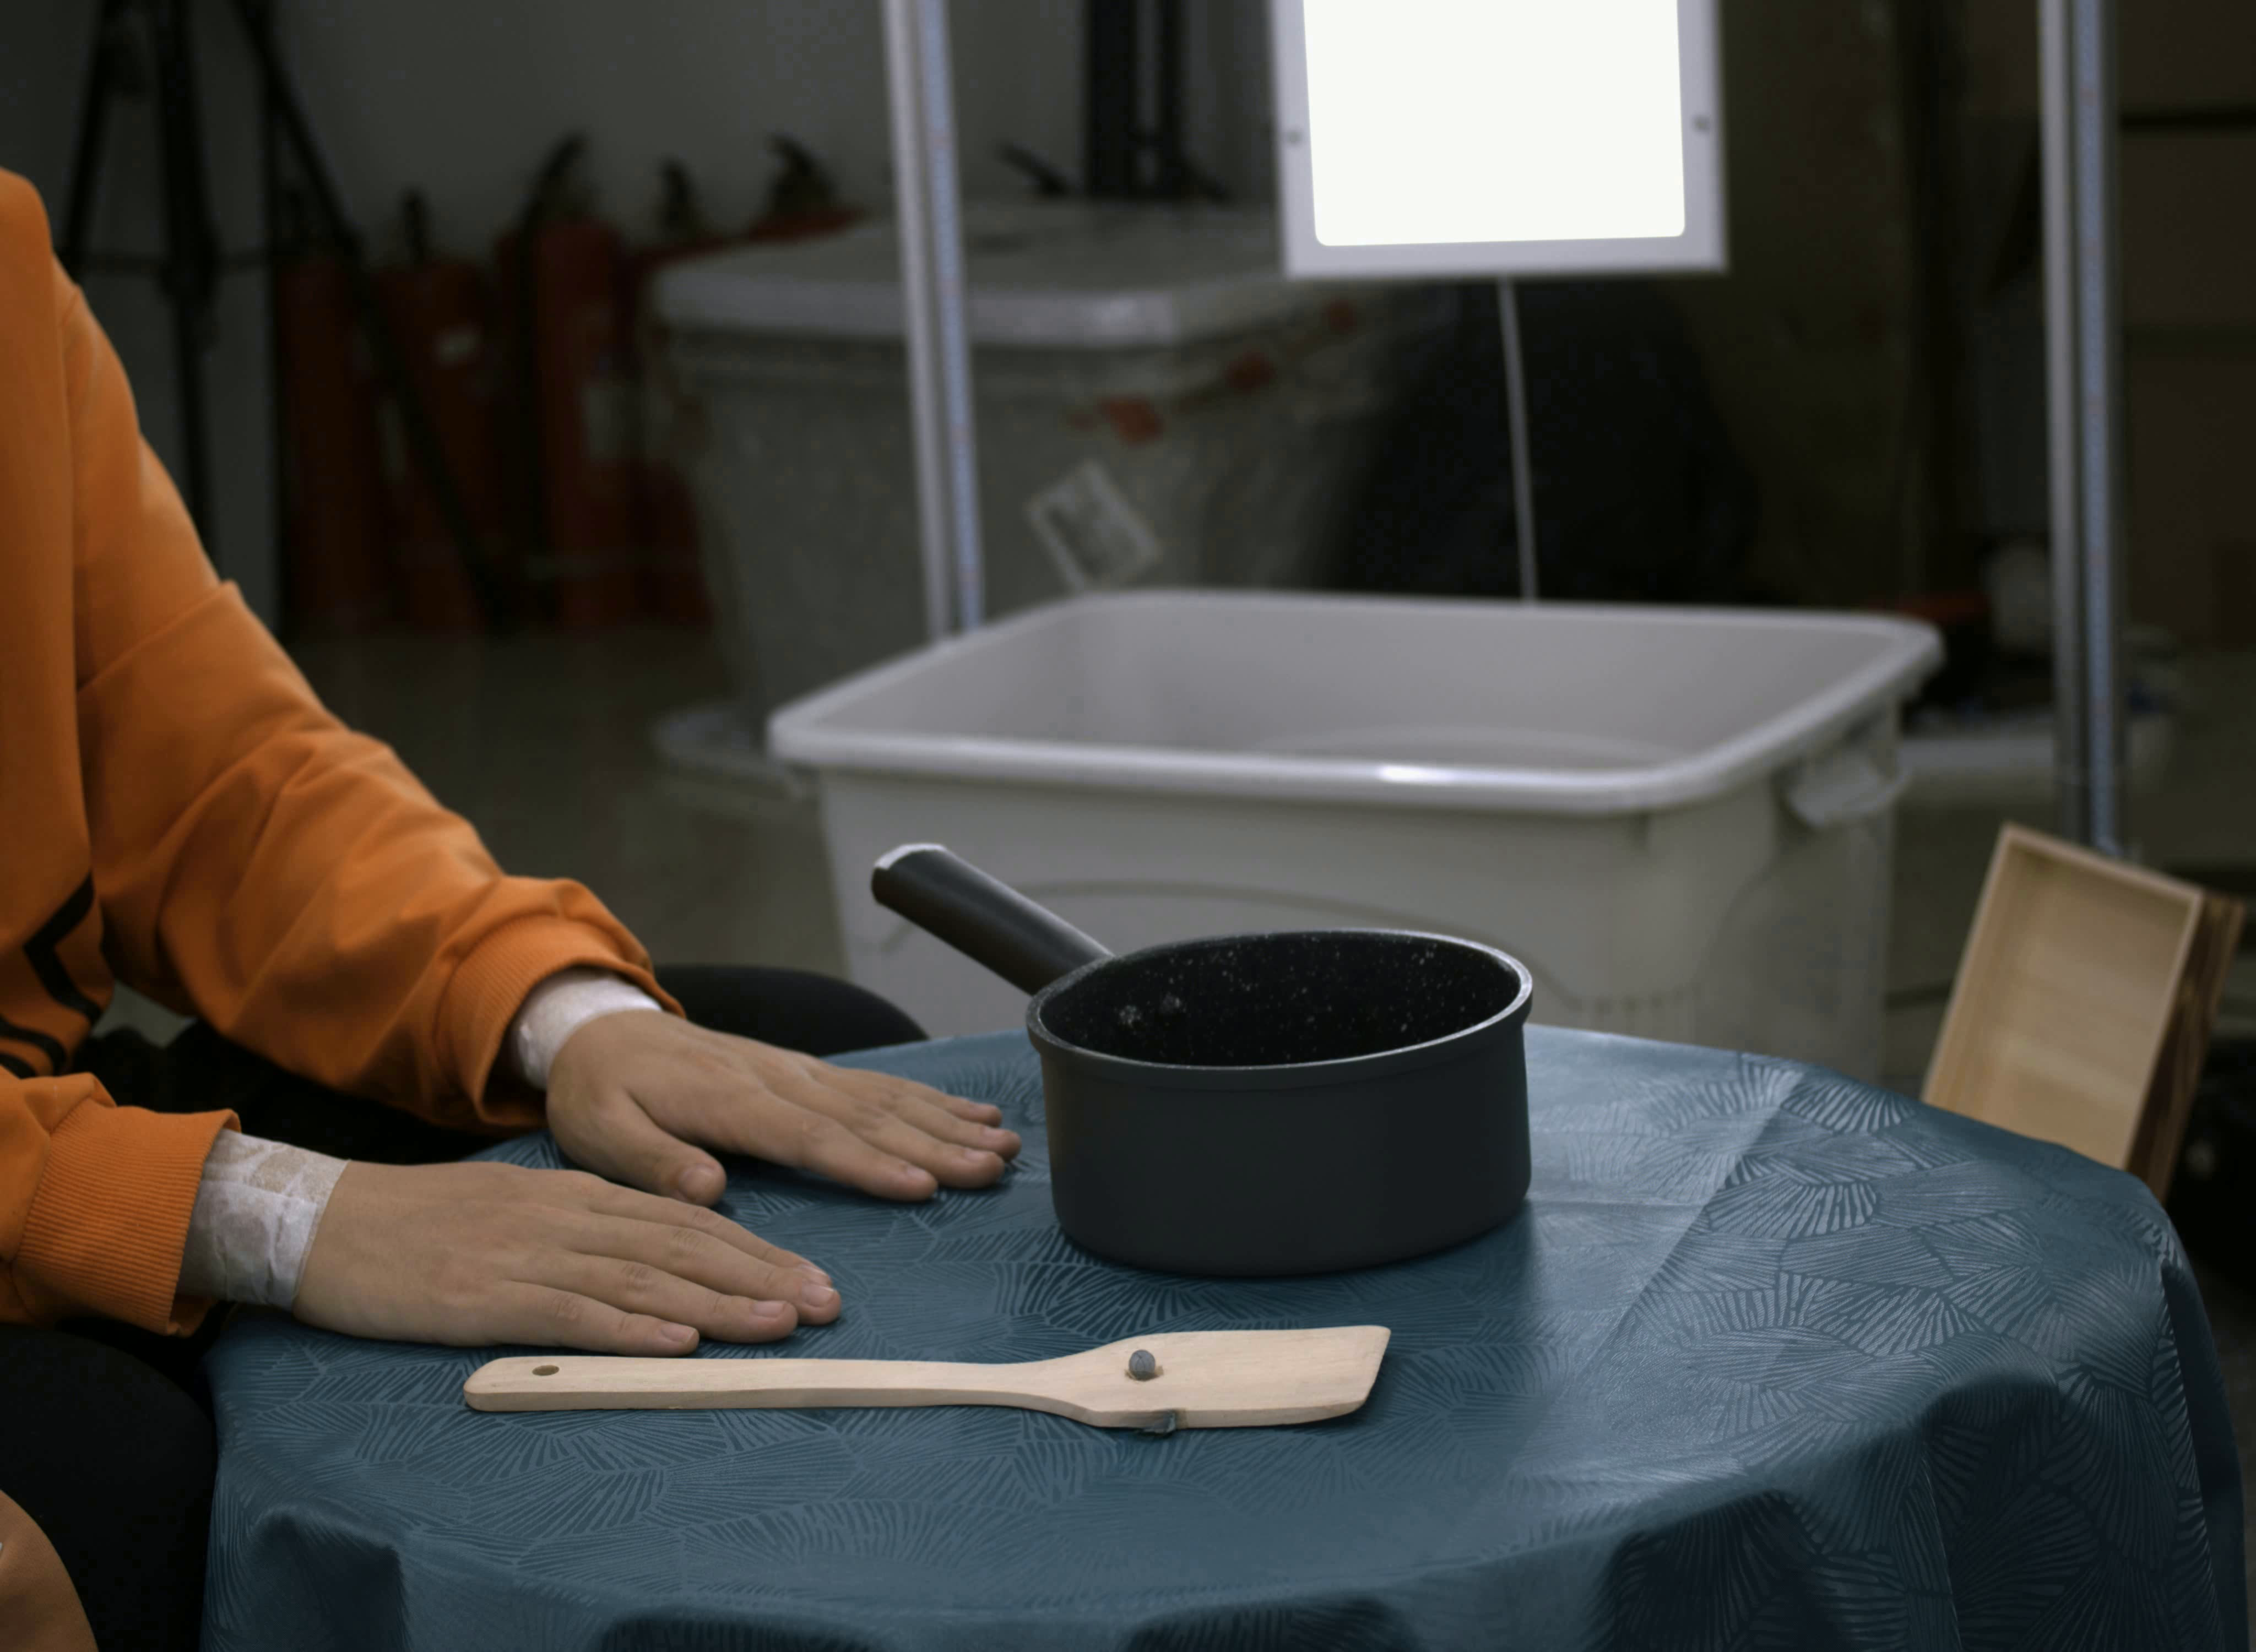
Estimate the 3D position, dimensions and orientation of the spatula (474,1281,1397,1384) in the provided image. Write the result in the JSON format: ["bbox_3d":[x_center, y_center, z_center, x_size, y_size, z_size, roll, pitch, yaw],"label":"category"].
[{"bbox_3d":[-0.062,0.161,1.721,0.295,0.011,0.071,-5,5,11],"label":"spatula"}]

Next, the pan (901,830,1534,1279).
[{"bbox_3d":[0.012,0.075,1.923,0.168,0.087,0.334,-12,17,-28],"label":"pan"}]
